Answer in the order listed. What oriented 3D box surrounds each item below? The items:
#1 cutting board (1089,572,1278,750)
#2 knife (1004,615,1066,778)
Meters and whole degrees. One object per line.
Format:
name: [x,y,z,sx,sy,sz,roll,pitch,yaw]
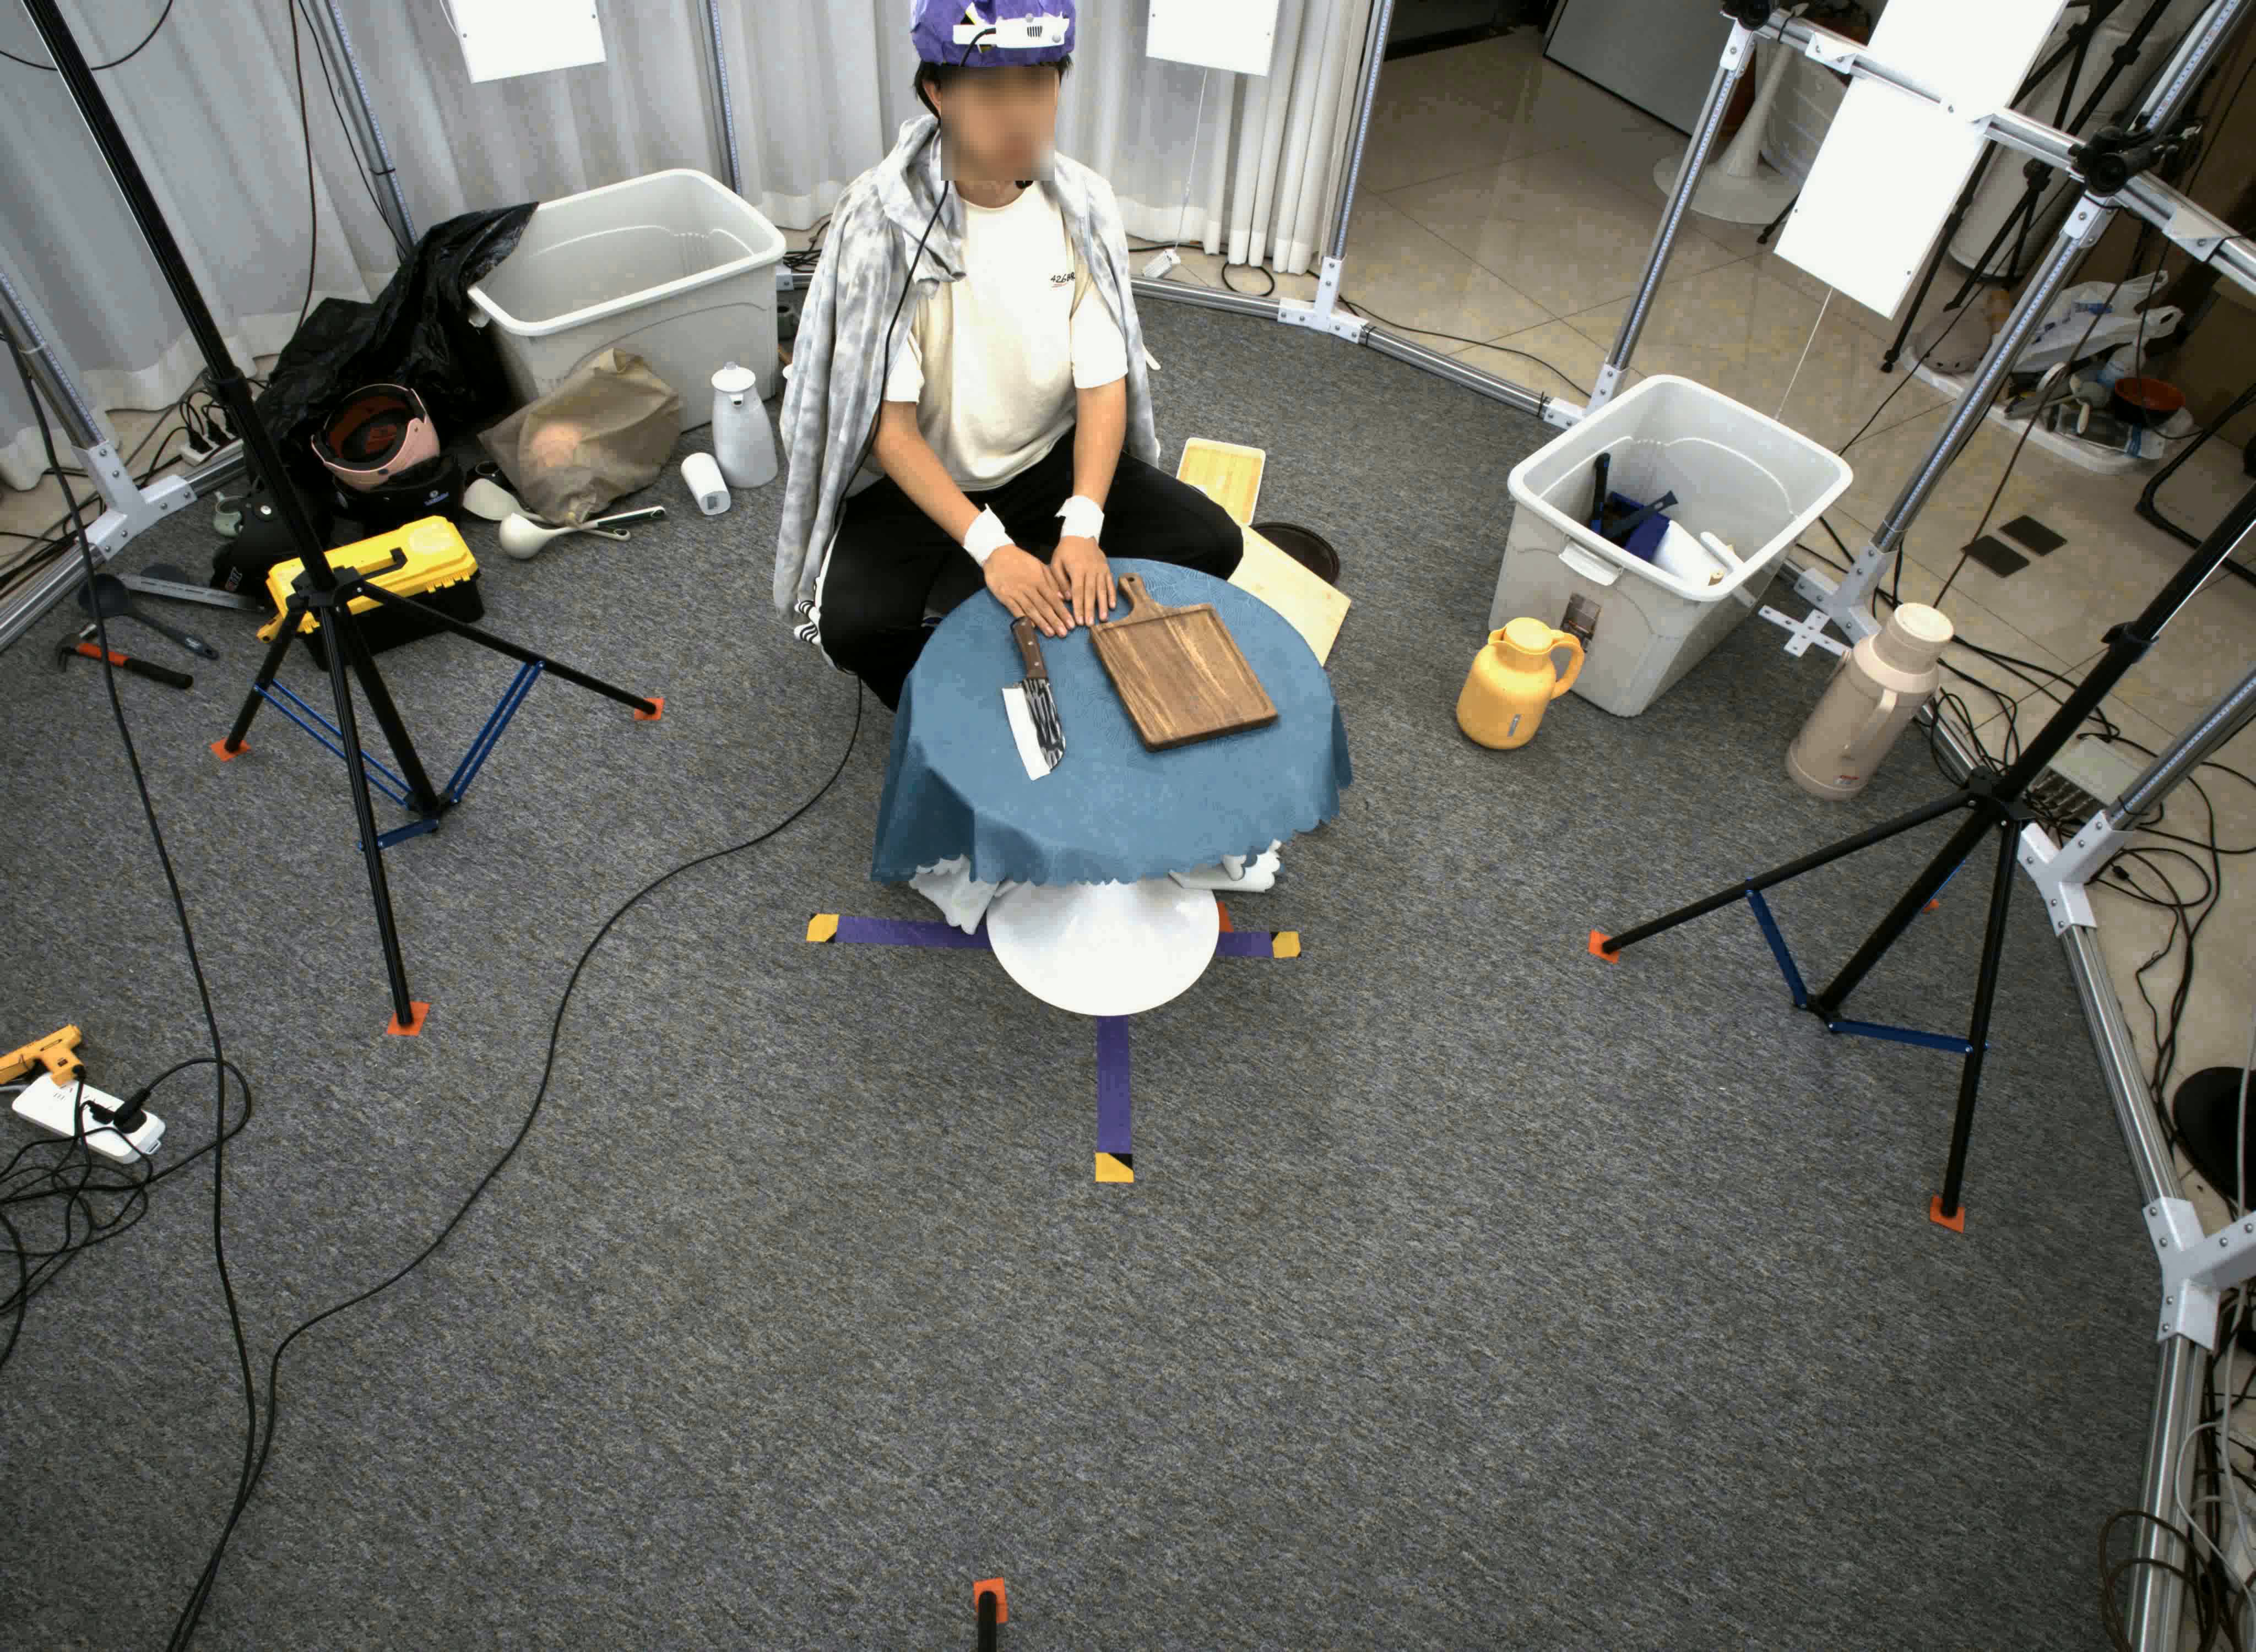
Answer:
cutting board: [0.060,-0.257,1.876,0.201,0.022,0.360,-14,50,-15]
knife: [-0.137,-0.185,1.800,0.068,0.023,0.307,-9,52,-8]
